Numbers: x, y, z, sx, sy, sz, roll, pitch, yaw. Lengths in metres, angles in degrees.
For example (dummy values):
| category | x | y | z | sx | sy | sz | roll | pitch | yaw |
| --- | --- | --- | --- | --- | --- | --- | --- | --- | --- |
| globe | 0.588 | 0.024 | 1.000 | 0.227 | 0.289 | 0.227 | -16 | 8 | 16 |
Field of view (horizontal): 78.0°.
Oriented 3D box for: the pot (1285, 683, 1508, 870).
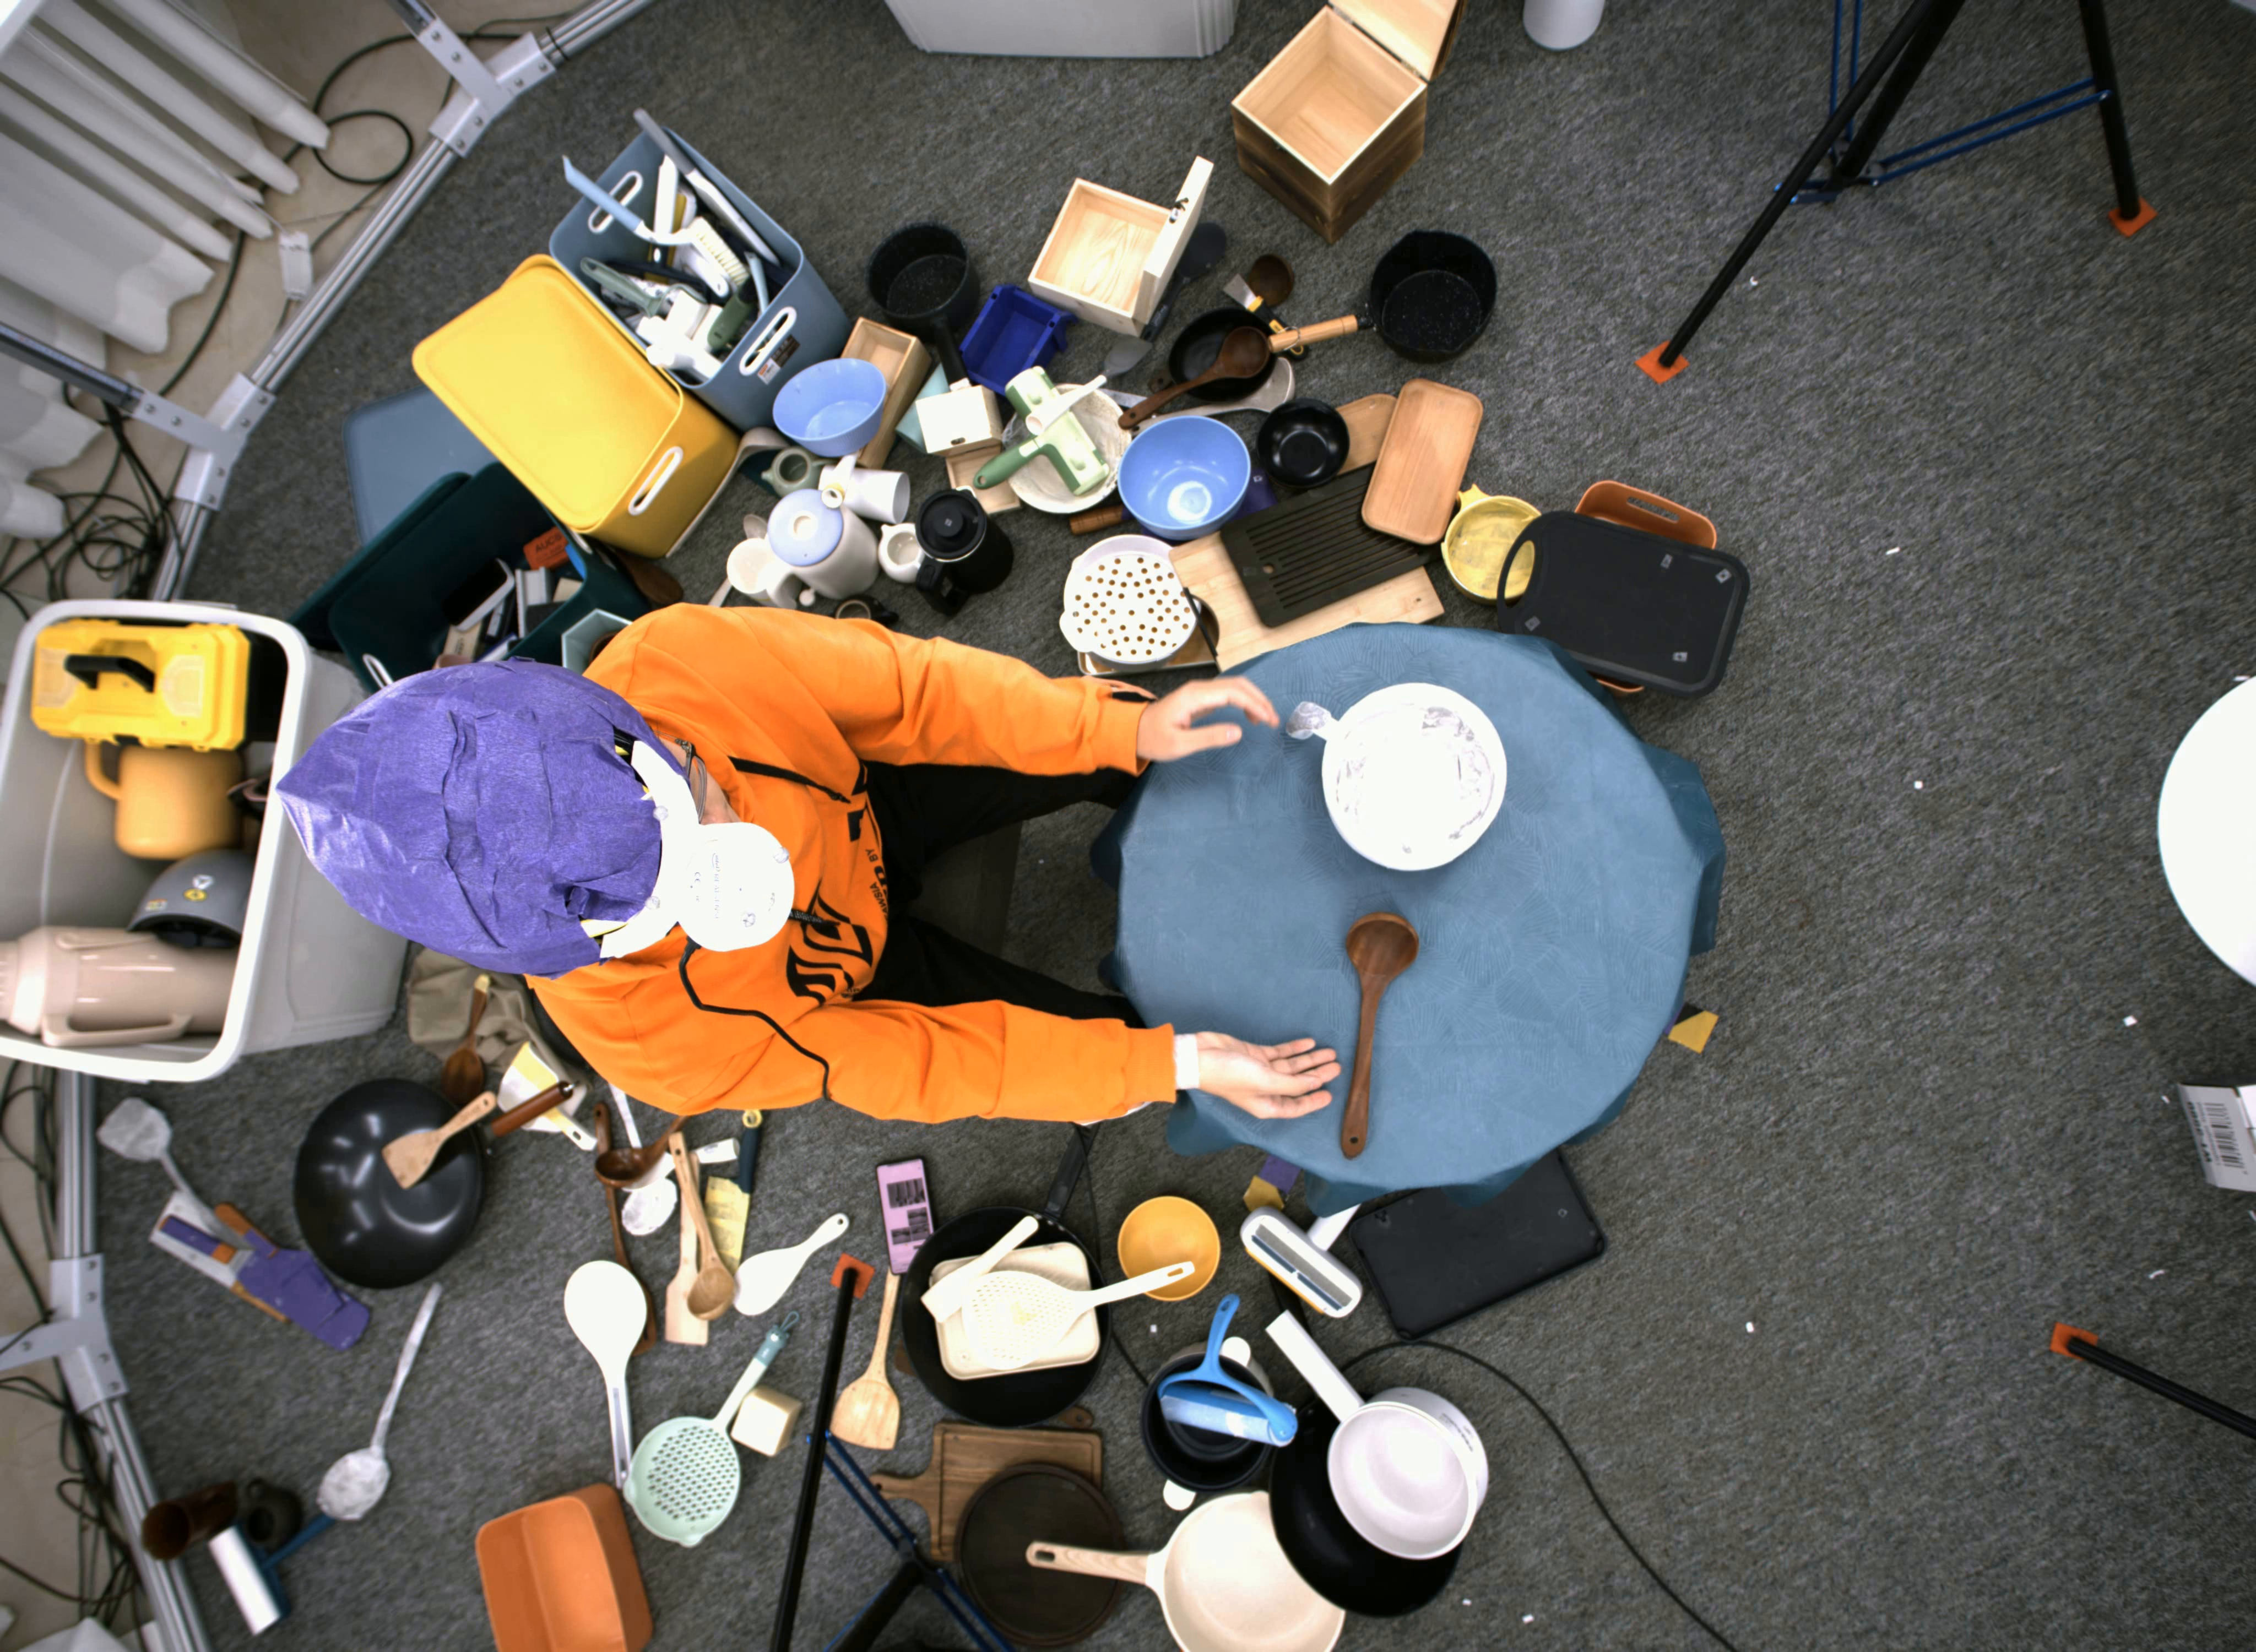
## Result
| category | x | y | z | sx | sy | sz | roll | pitch | yaw |
| --- | --- | --- | --- | --- | --- | --- | --- | --- | --- |
| pot | 0.263 | -0.061 | 1.398 | 0.233 | 0.137 | 0.179 | 30 | 91 | 10 |

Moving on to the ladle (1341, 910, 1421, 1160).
| category | x | y | z | sx | sy | sz | roll | pitch | yaw |
| --- | --- | --- | --- | --- | --- | --- | --- | --- | --- |
| ladle | 0.248 | 0.215 | 1.424 | 0.077 | 0.065 | 0.259 | 9 | 88 | 13 |
